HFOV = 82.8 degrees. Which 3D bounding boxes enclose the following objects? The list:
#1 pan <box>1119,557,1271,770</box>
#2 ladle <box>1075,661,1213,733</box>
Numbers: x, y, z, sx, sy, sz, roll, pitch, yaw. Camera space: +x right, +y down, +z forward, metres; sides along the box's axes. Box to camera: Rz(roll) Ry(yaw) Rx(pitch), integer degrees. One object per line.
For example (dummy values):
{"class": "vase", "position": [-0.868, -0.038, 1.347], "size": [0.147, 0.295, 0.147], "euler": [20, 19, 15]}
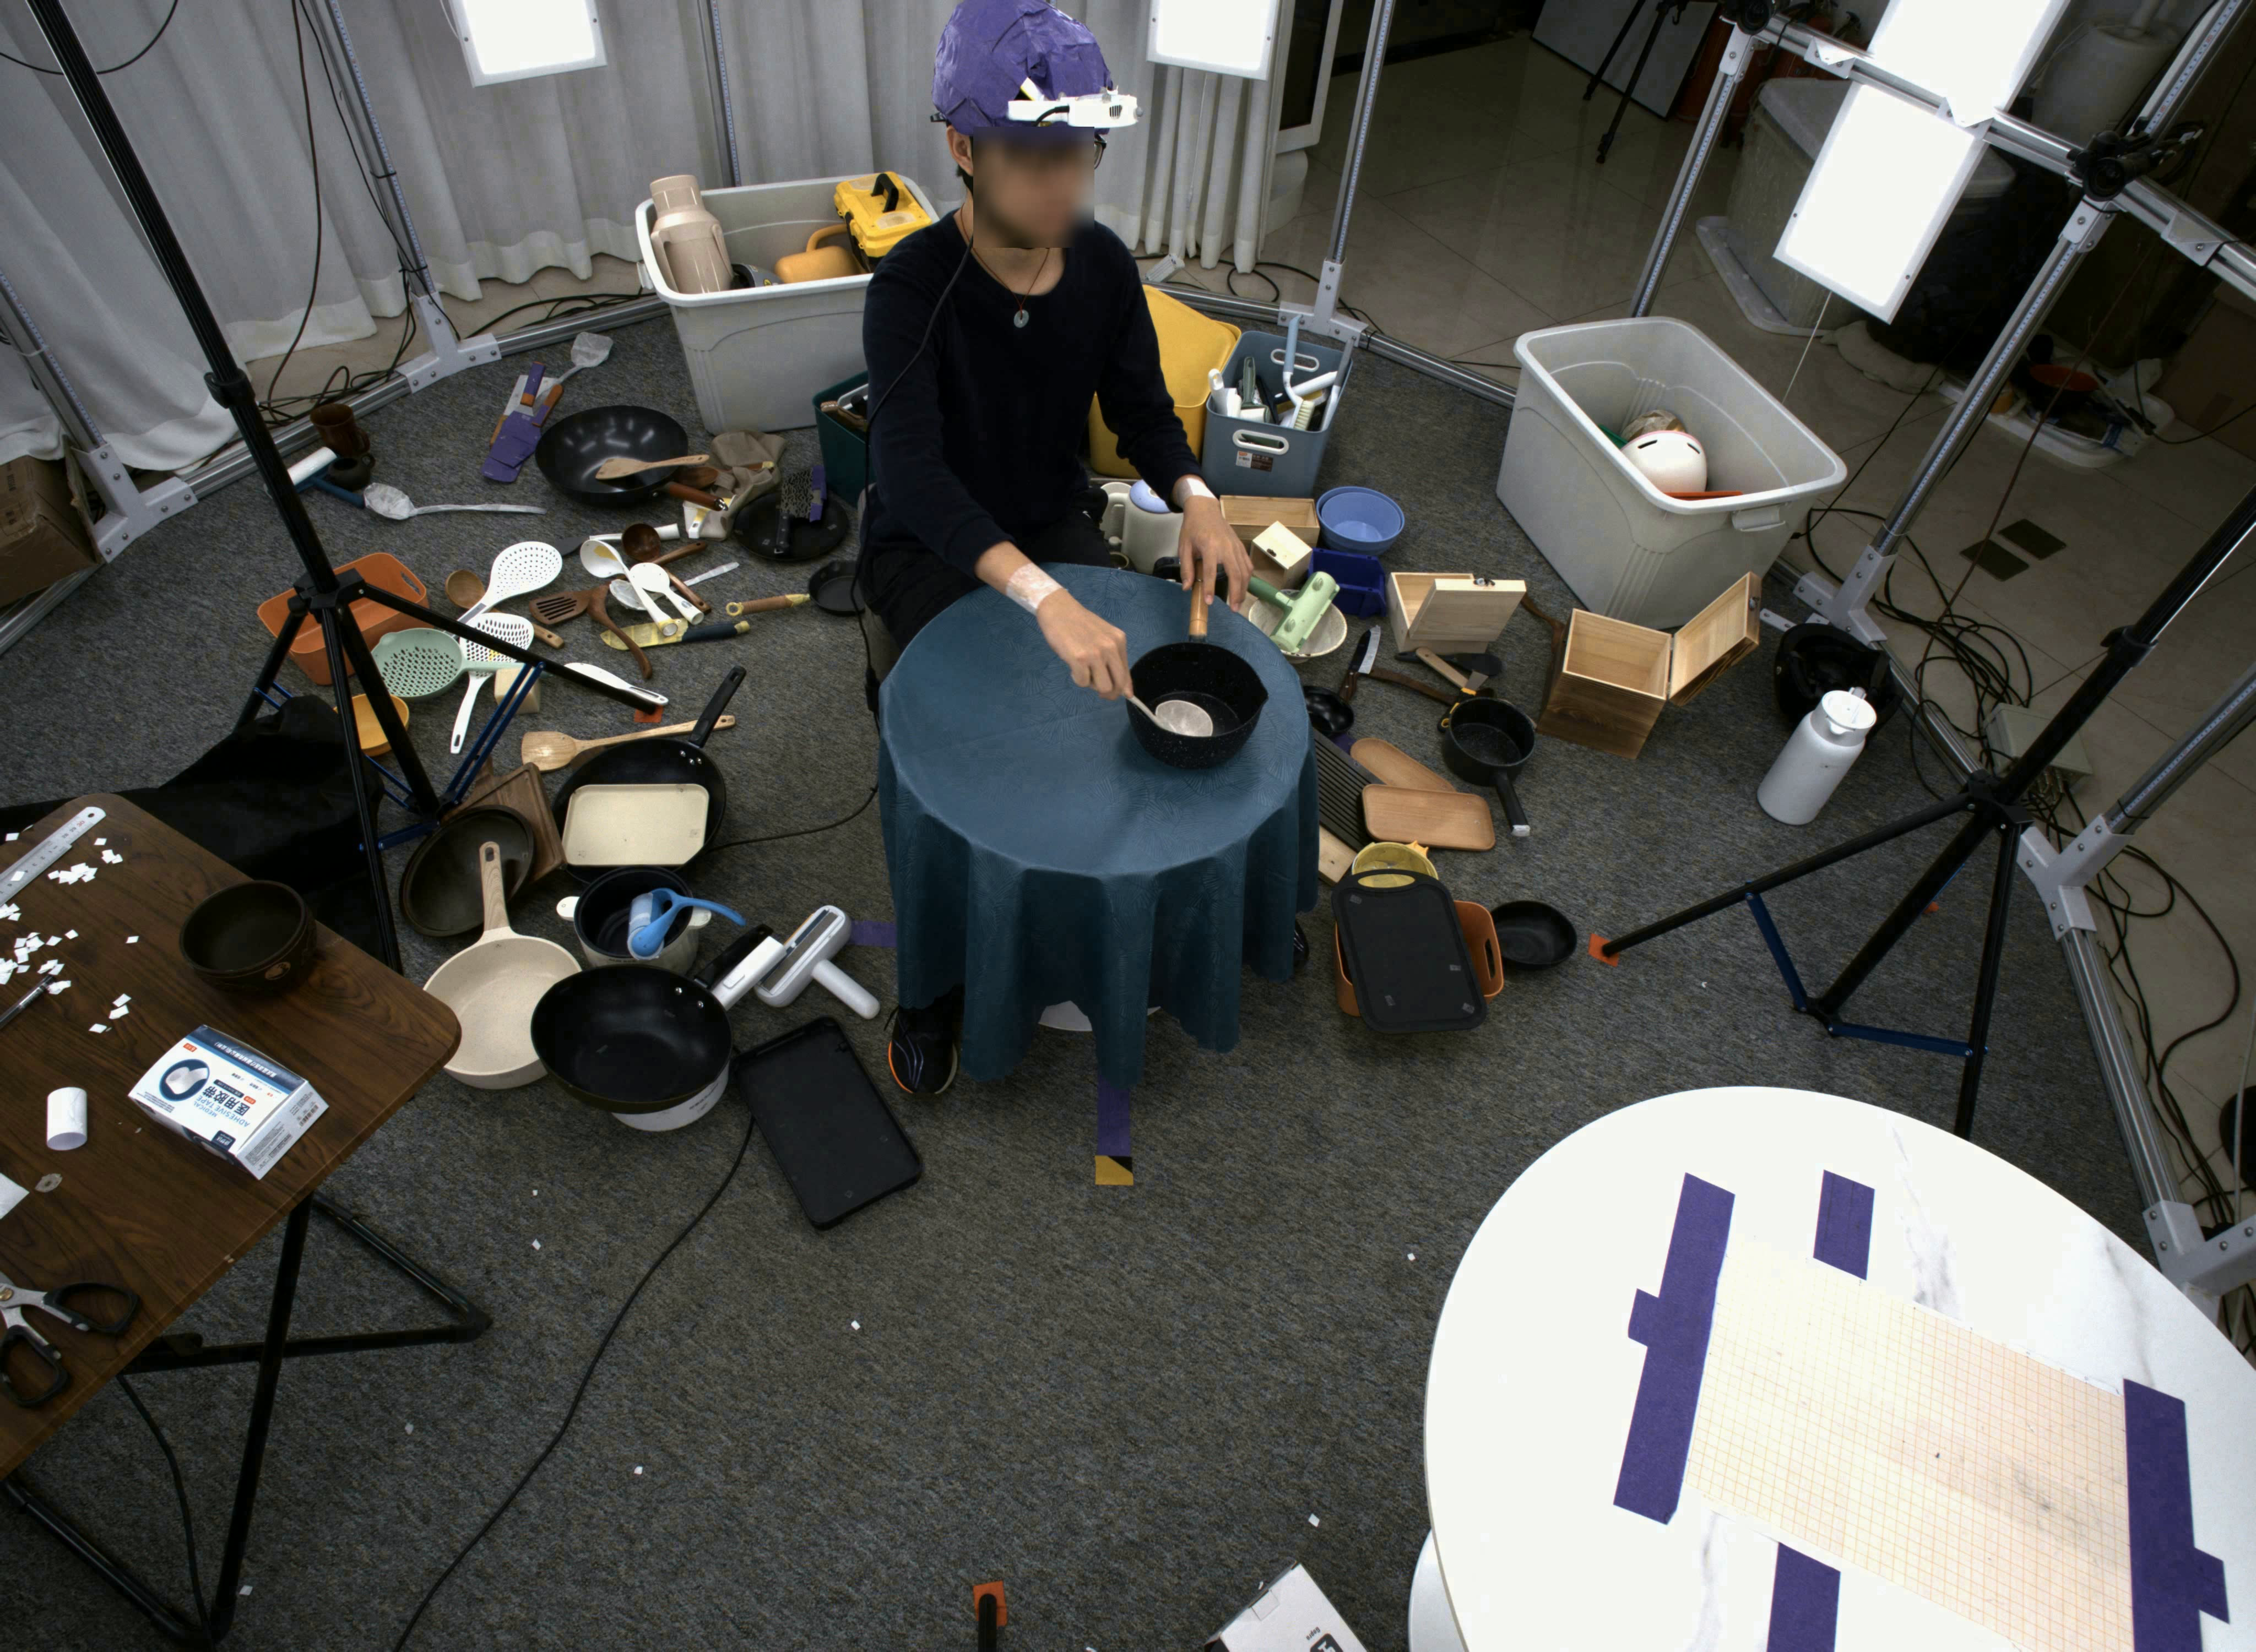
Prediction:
{"class": "pan", "position": [0.093, -0.229, 1.804], "size": [0.207, 0.105, 0.351], "euler": [4, 50, 0]}
{"class": "ladle", "position": [0.025, -0.170, 1.641], "size": [0.069, 0.270, 0.091], "euler": [-36, 59, 13]}
